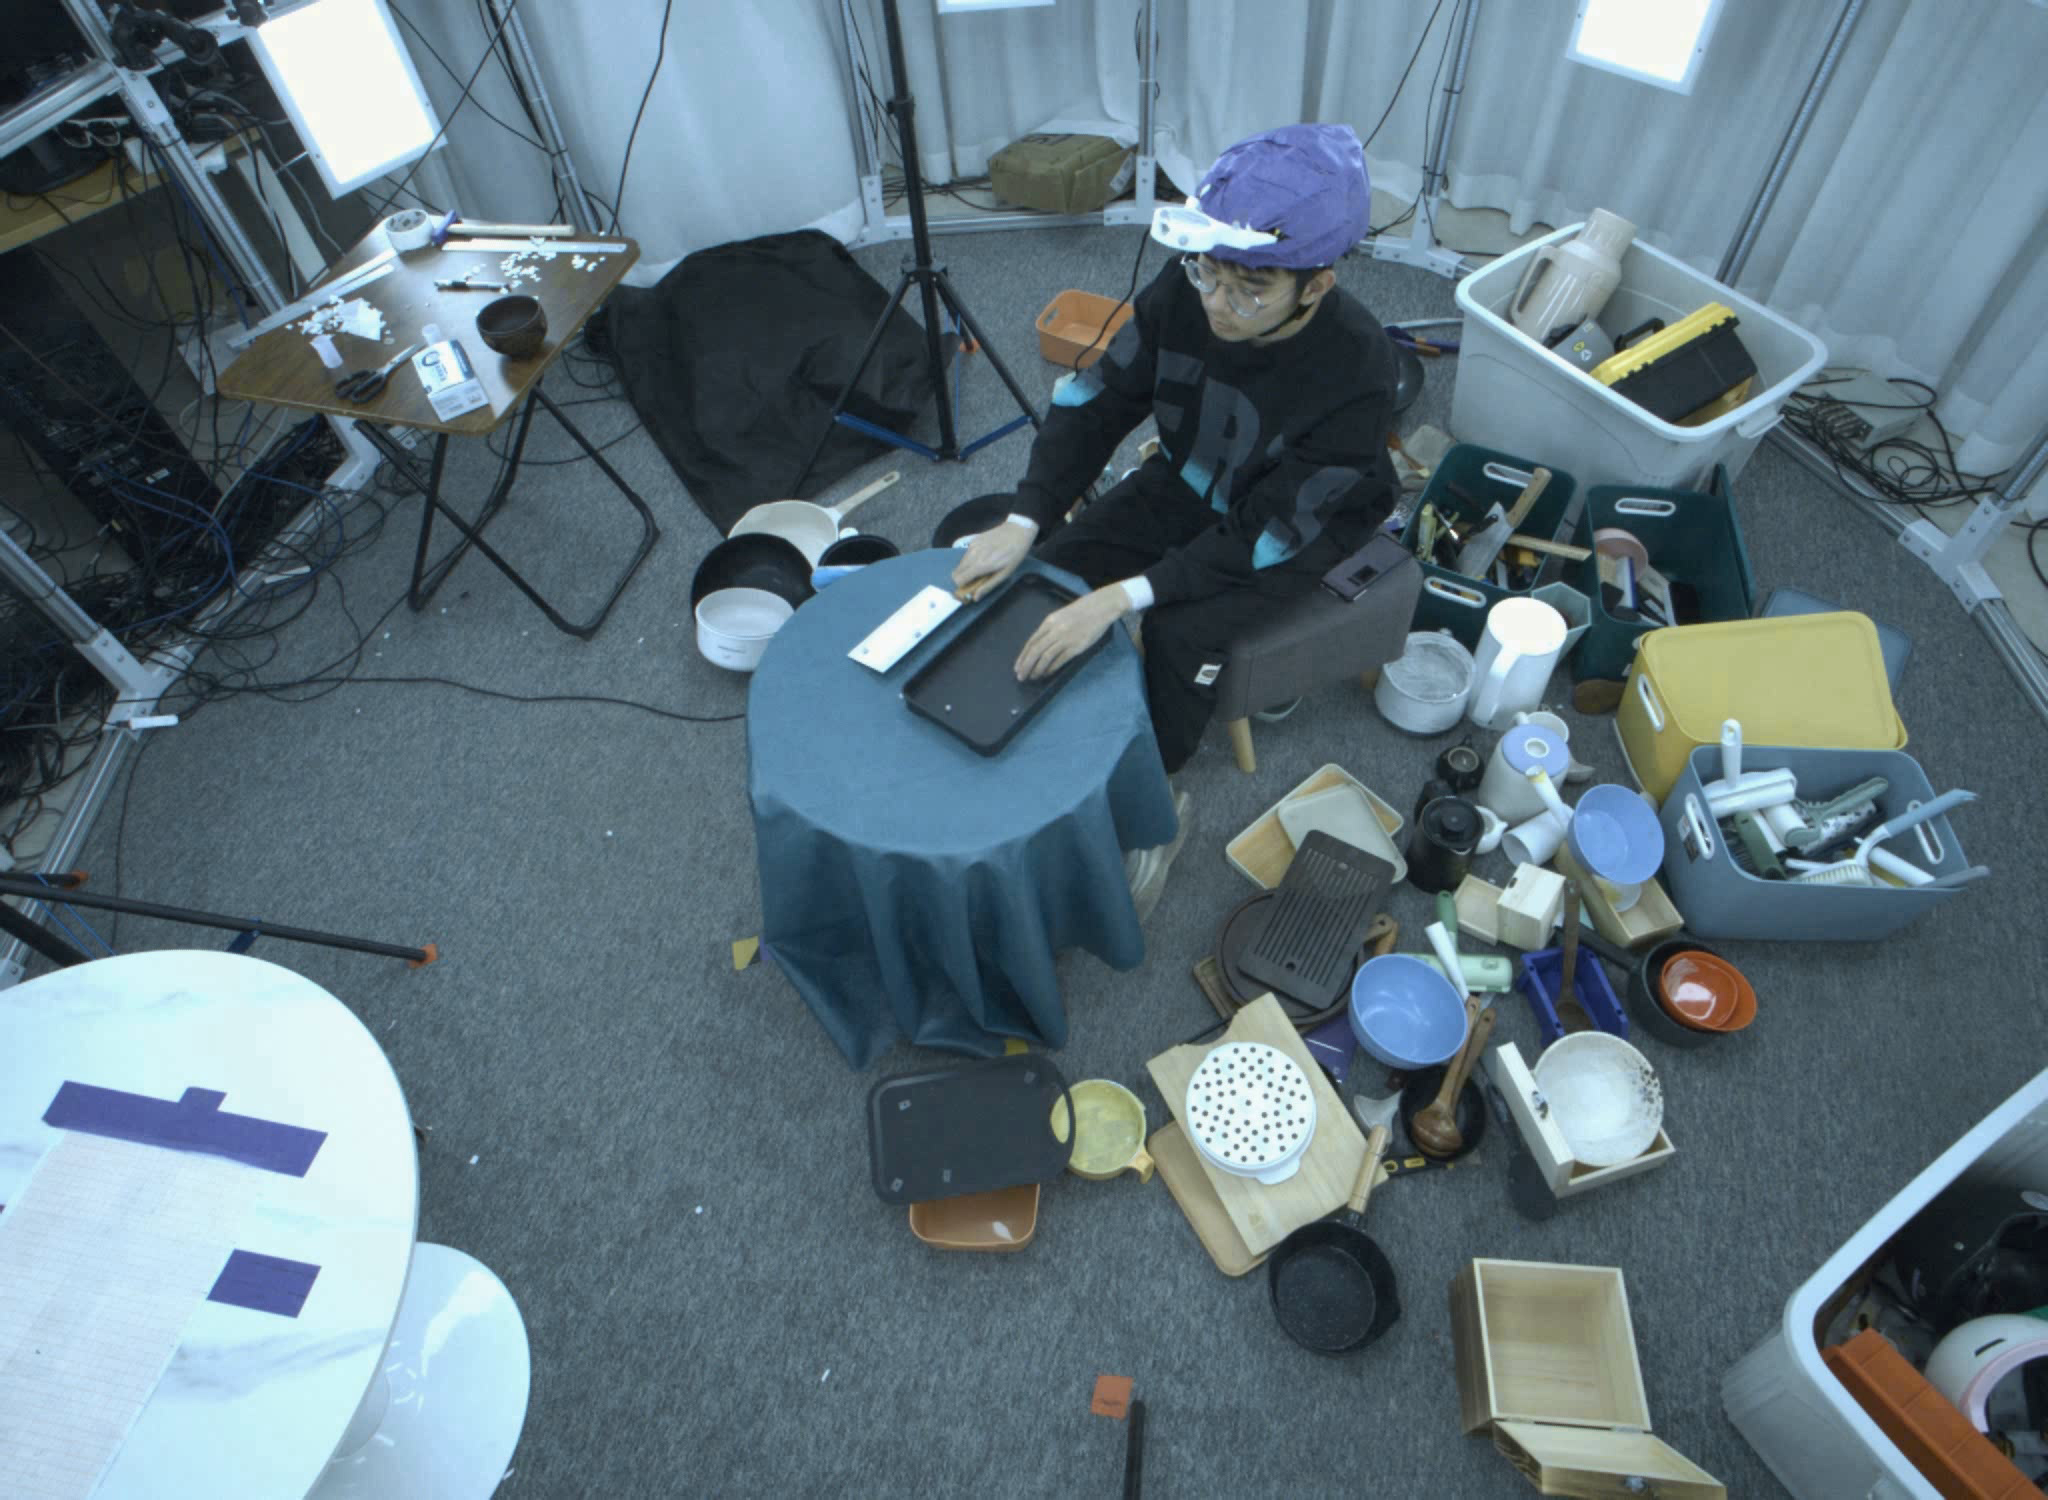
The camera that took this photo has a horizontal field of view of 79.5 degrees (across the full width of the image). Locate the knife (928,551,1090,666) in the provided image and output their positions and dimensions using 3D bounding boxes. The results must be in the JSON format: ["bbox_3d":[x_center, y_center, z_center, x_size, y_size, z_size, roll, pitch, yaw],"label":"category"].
[{"bbox_3d":[-0.027,-0.233,1.939,0.308,0.021,0.091,-40,49,-23],"label":"knife"}]

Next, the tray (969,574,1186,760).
[{"bbox_3d":[0.083,-0.130,1.854,0.181,0.037,0.320,35,62,24],"label":"tray"}]
